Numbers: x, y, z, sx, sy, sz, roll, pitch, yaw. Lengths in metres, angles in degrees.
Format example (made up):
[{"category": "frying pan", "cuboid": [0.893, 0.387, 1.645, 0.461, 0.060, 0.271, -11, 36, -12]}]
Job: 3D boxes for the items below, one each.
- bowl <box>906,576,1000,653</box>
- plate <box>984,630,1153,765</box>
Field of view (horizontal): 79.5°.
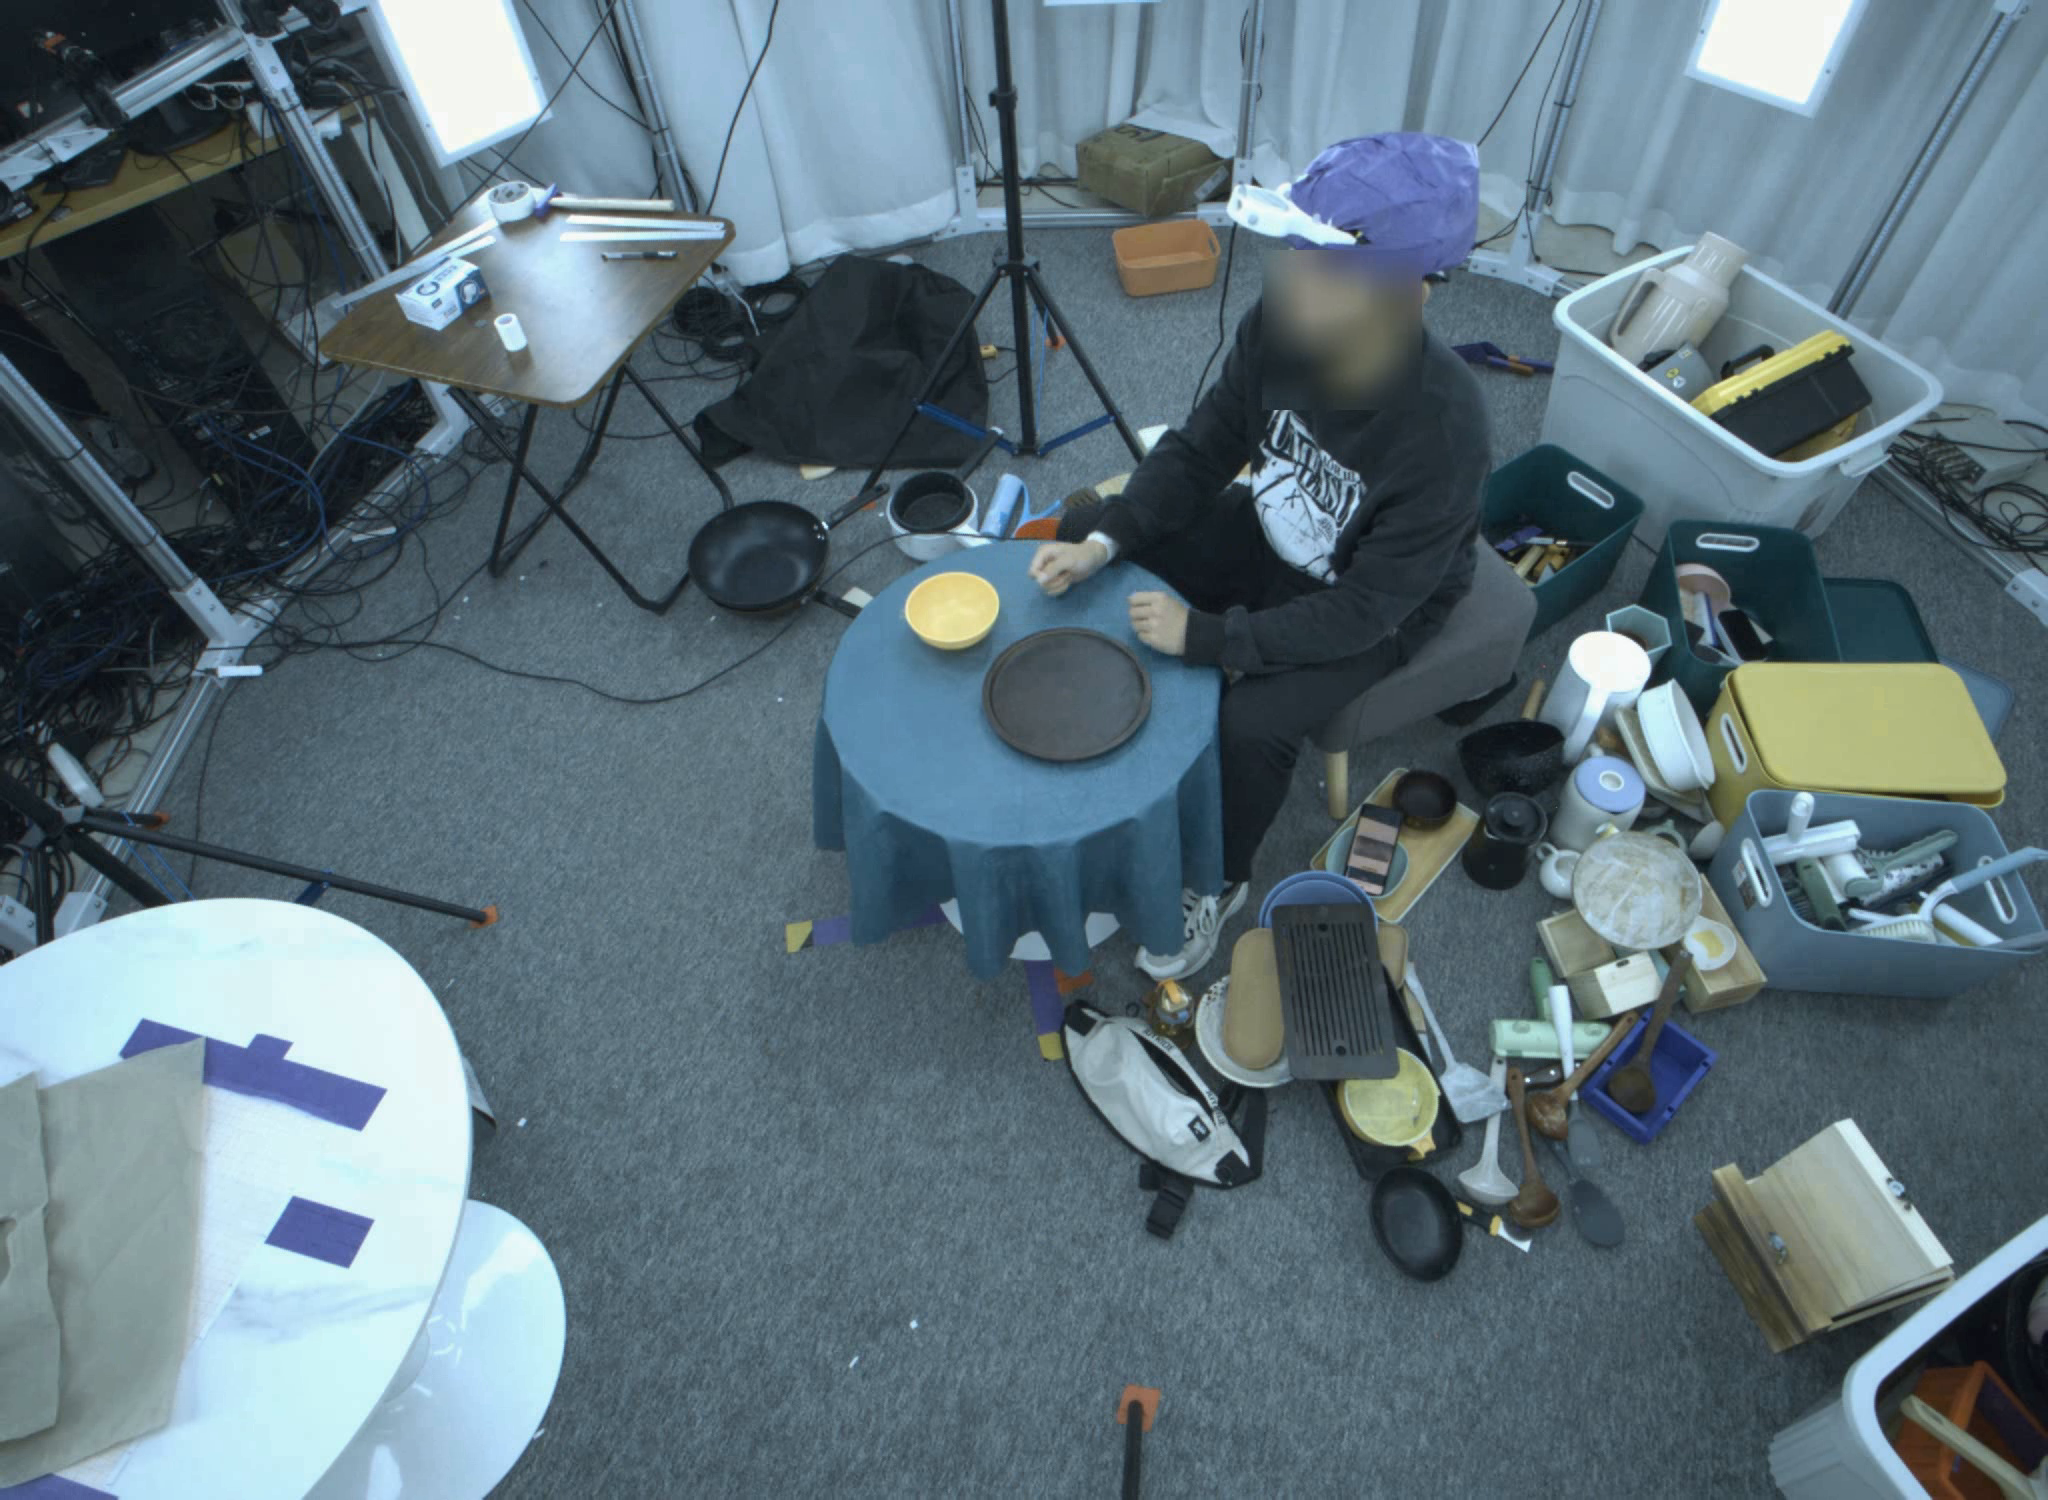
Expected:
[{"category": "bowl", "cuboid": [-0.109, -0.199, 1.907, 0.145, 0.060, 0.144, 1, 54, 0]}, {"category": "plate", "cuboid": [0.066, -0.079, 1.837, 0.254, 0.029, 0.252, -1, 53, 2]}]
